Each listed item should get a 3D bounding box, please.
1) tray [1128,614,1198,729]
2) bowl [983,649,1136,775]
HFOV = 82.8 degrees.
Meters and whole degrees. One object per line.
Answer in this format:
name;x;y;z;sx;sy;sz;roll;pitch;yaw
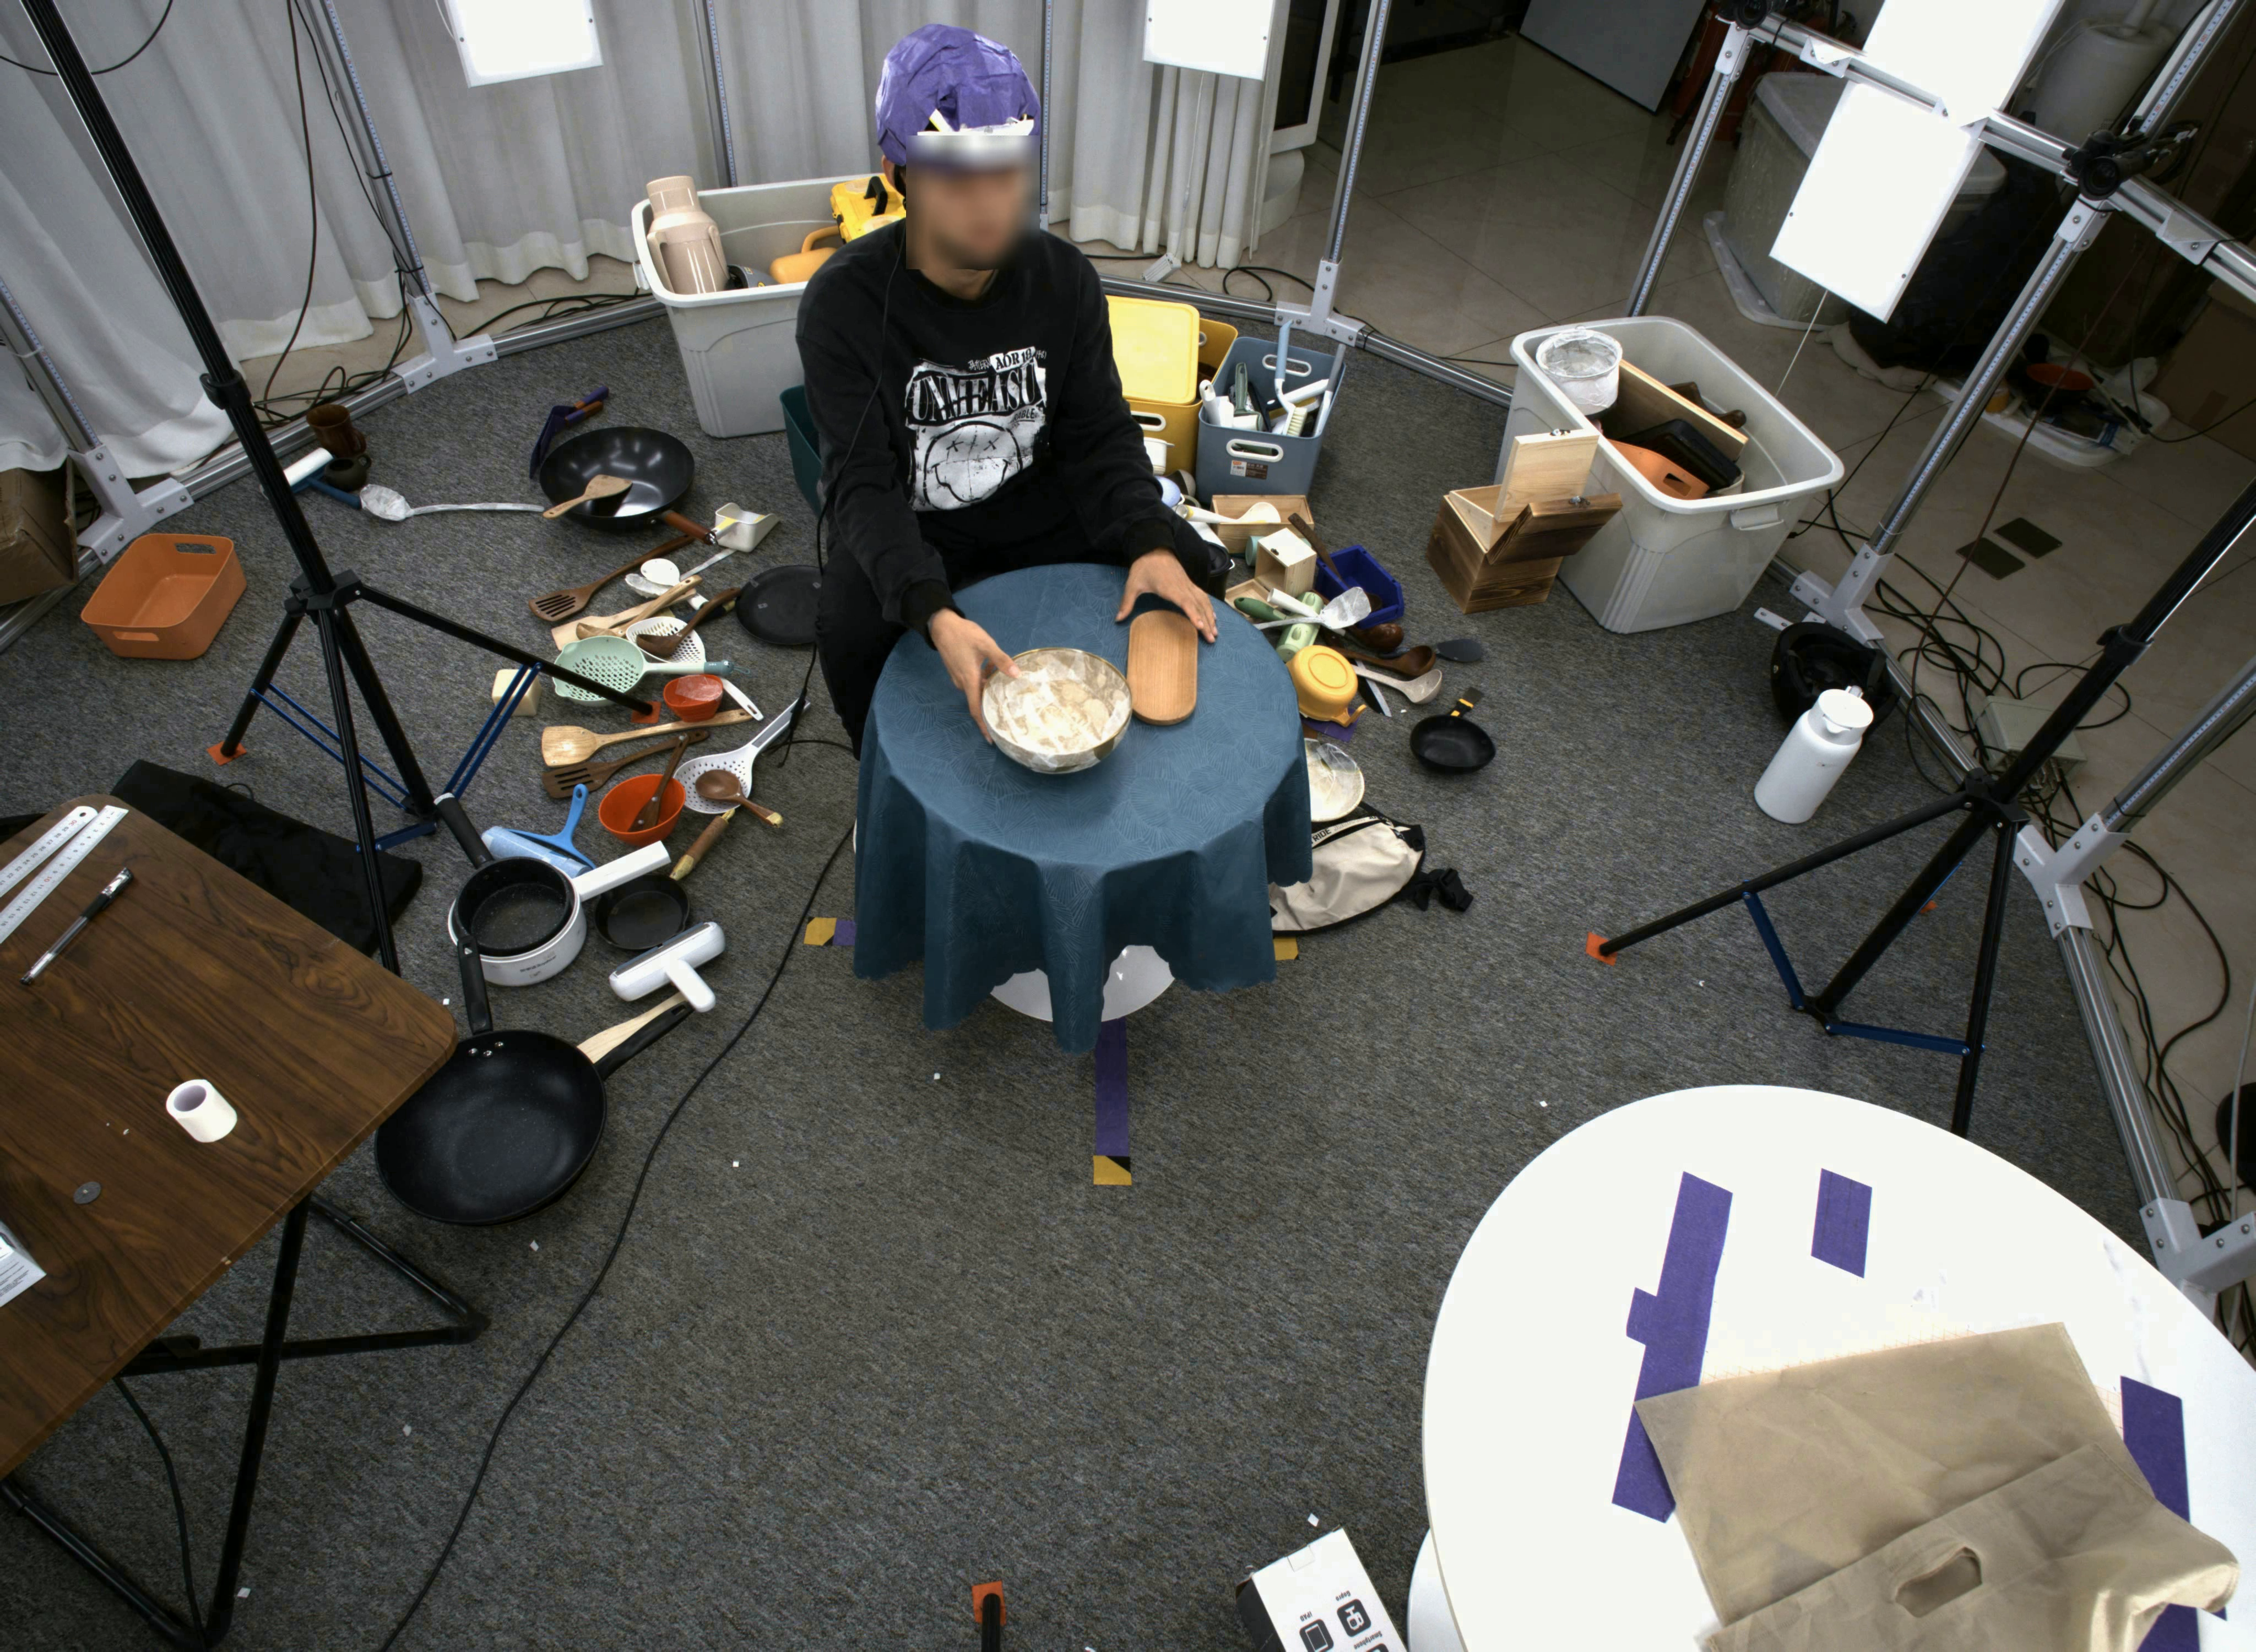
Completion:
tray;0.052;-0.229;1.877;0.101;0.020;0.237;2;50;0
bowl;-0.091;-0.142;1.741;0.214;0.092;0.220;1;48;-1
